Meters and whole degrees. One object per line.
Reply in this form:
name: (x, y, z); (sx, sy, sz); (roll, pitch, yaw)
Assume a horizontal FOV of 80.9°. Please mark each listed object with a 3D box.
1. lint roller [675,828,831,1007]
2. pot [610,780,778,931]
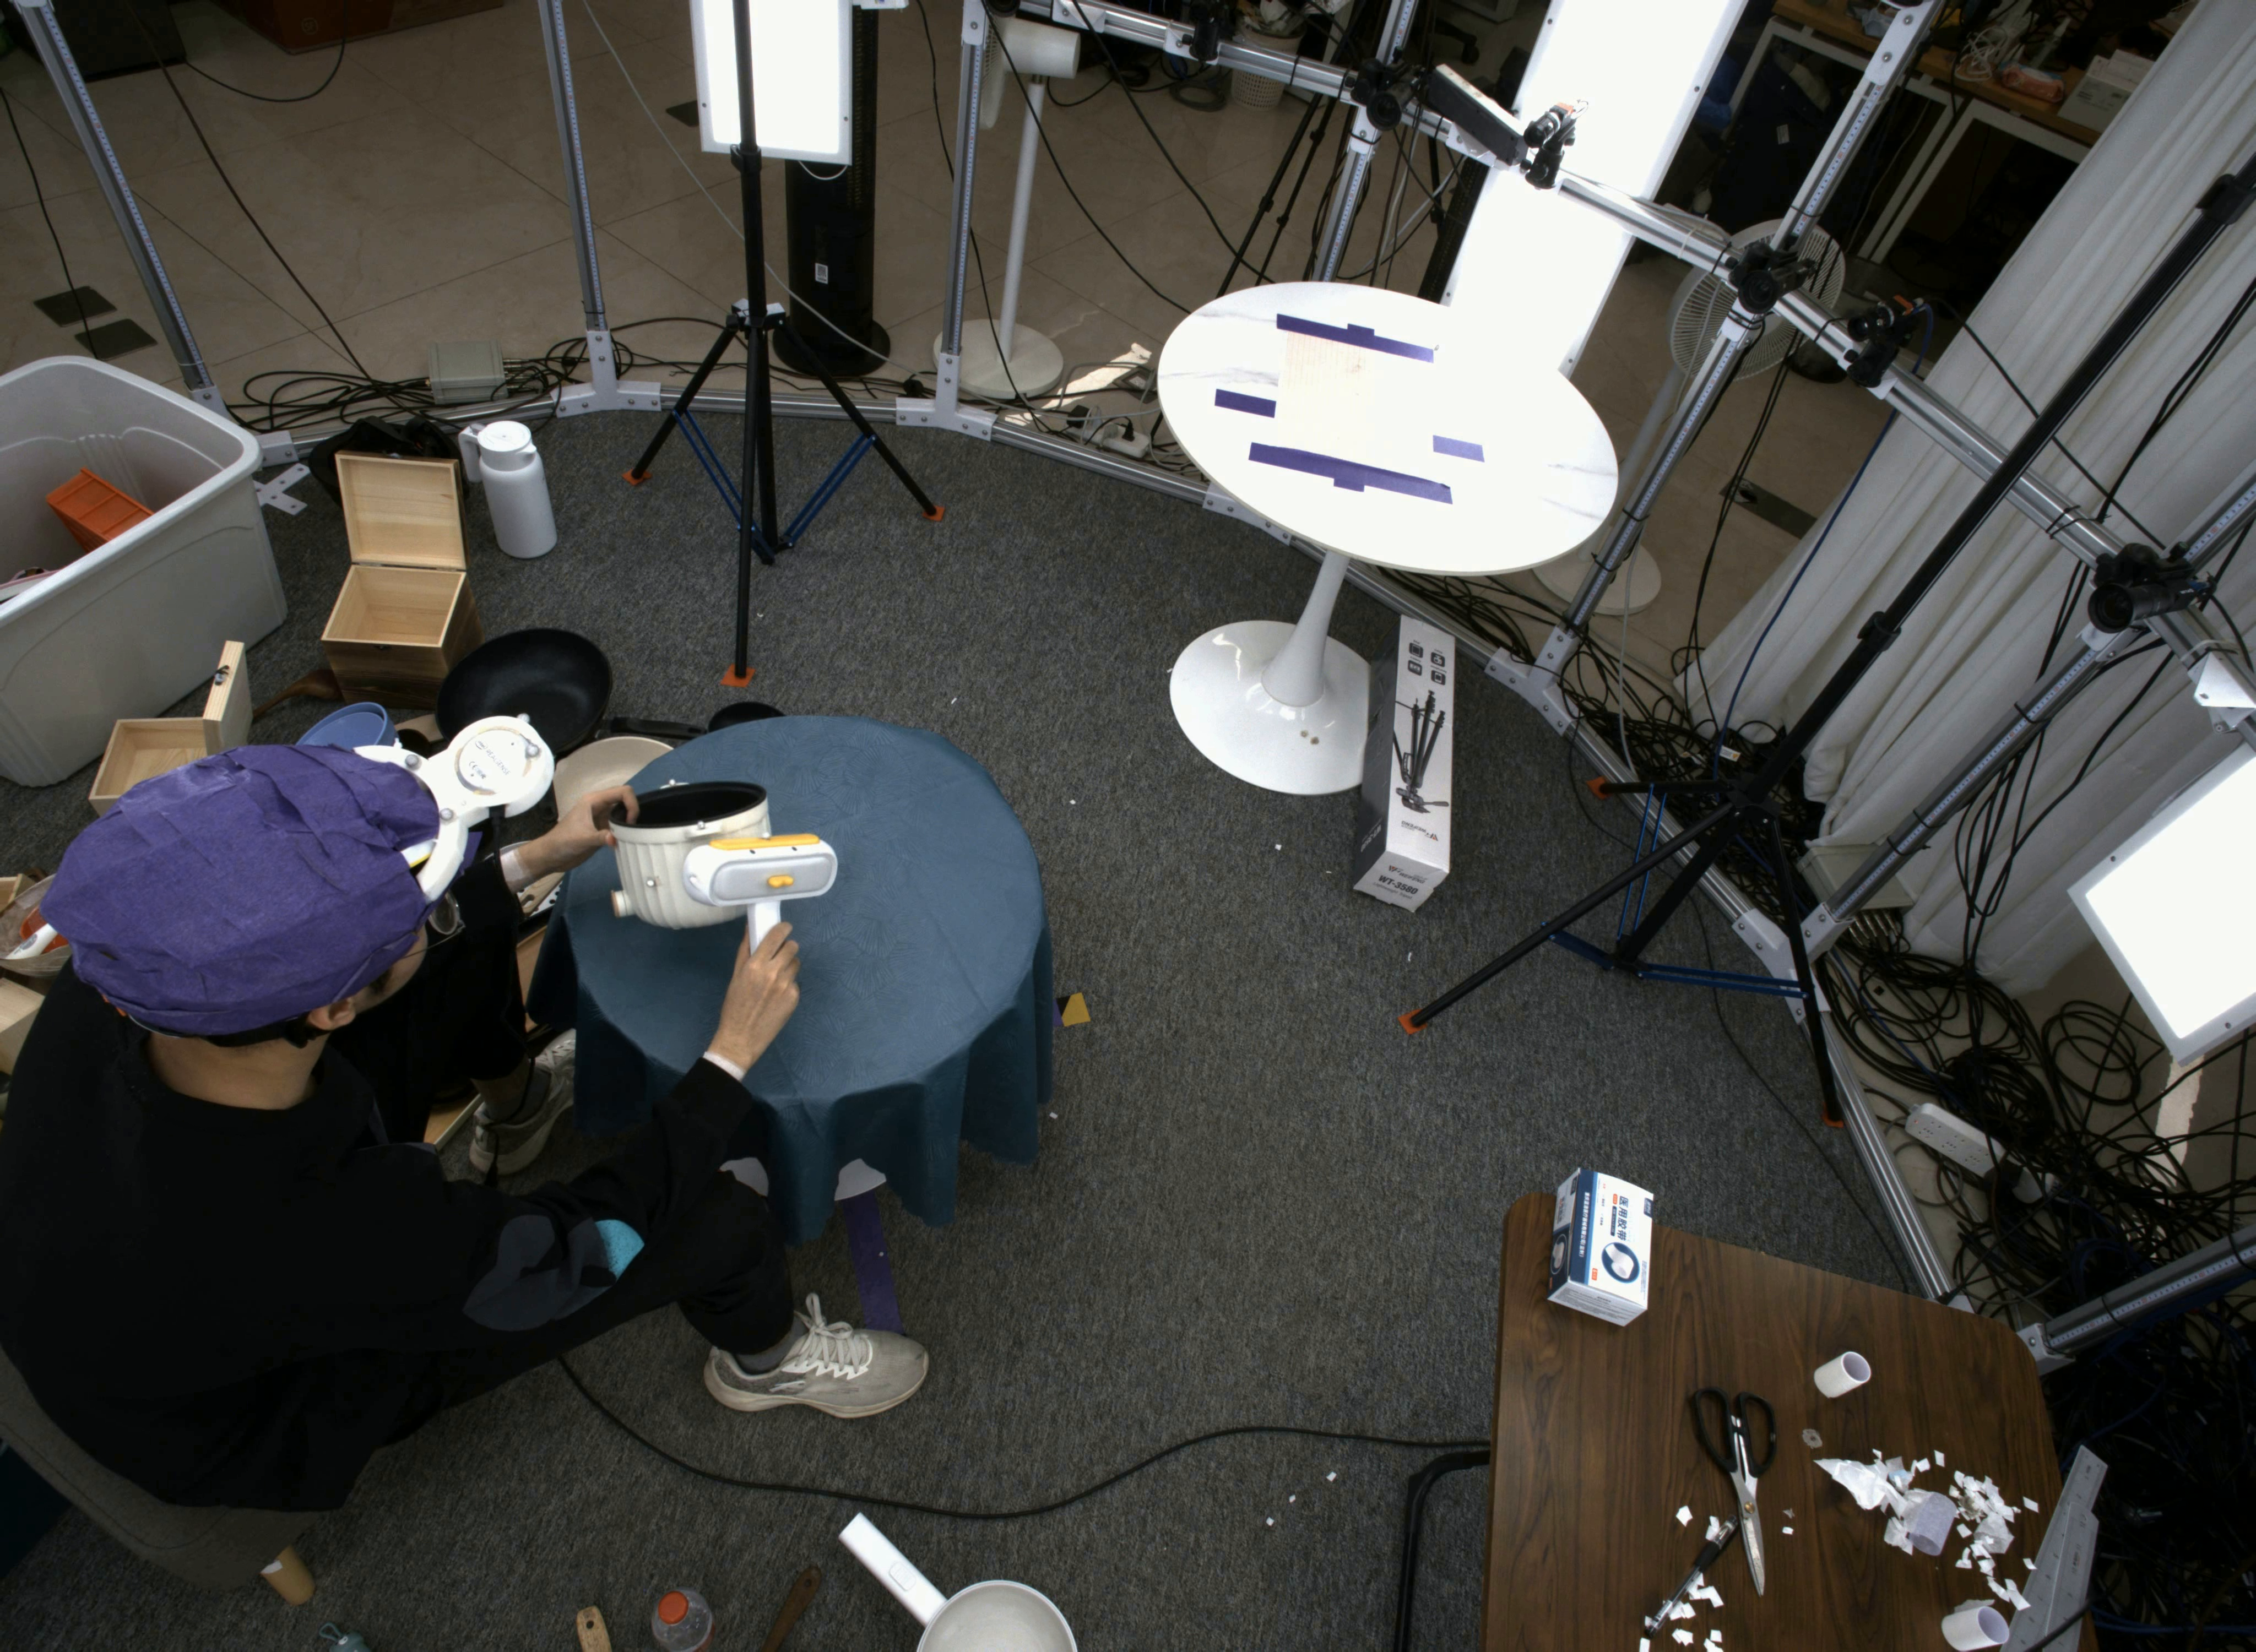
lint roller: (-0.416, 0.105, 1.466); (0.071, 0.196, 0.195); (12, 14, 31)
pot: (-0.514, 0.035, 1.516); (0.192, 0.146, 0.232); (-10, 18, -27)
